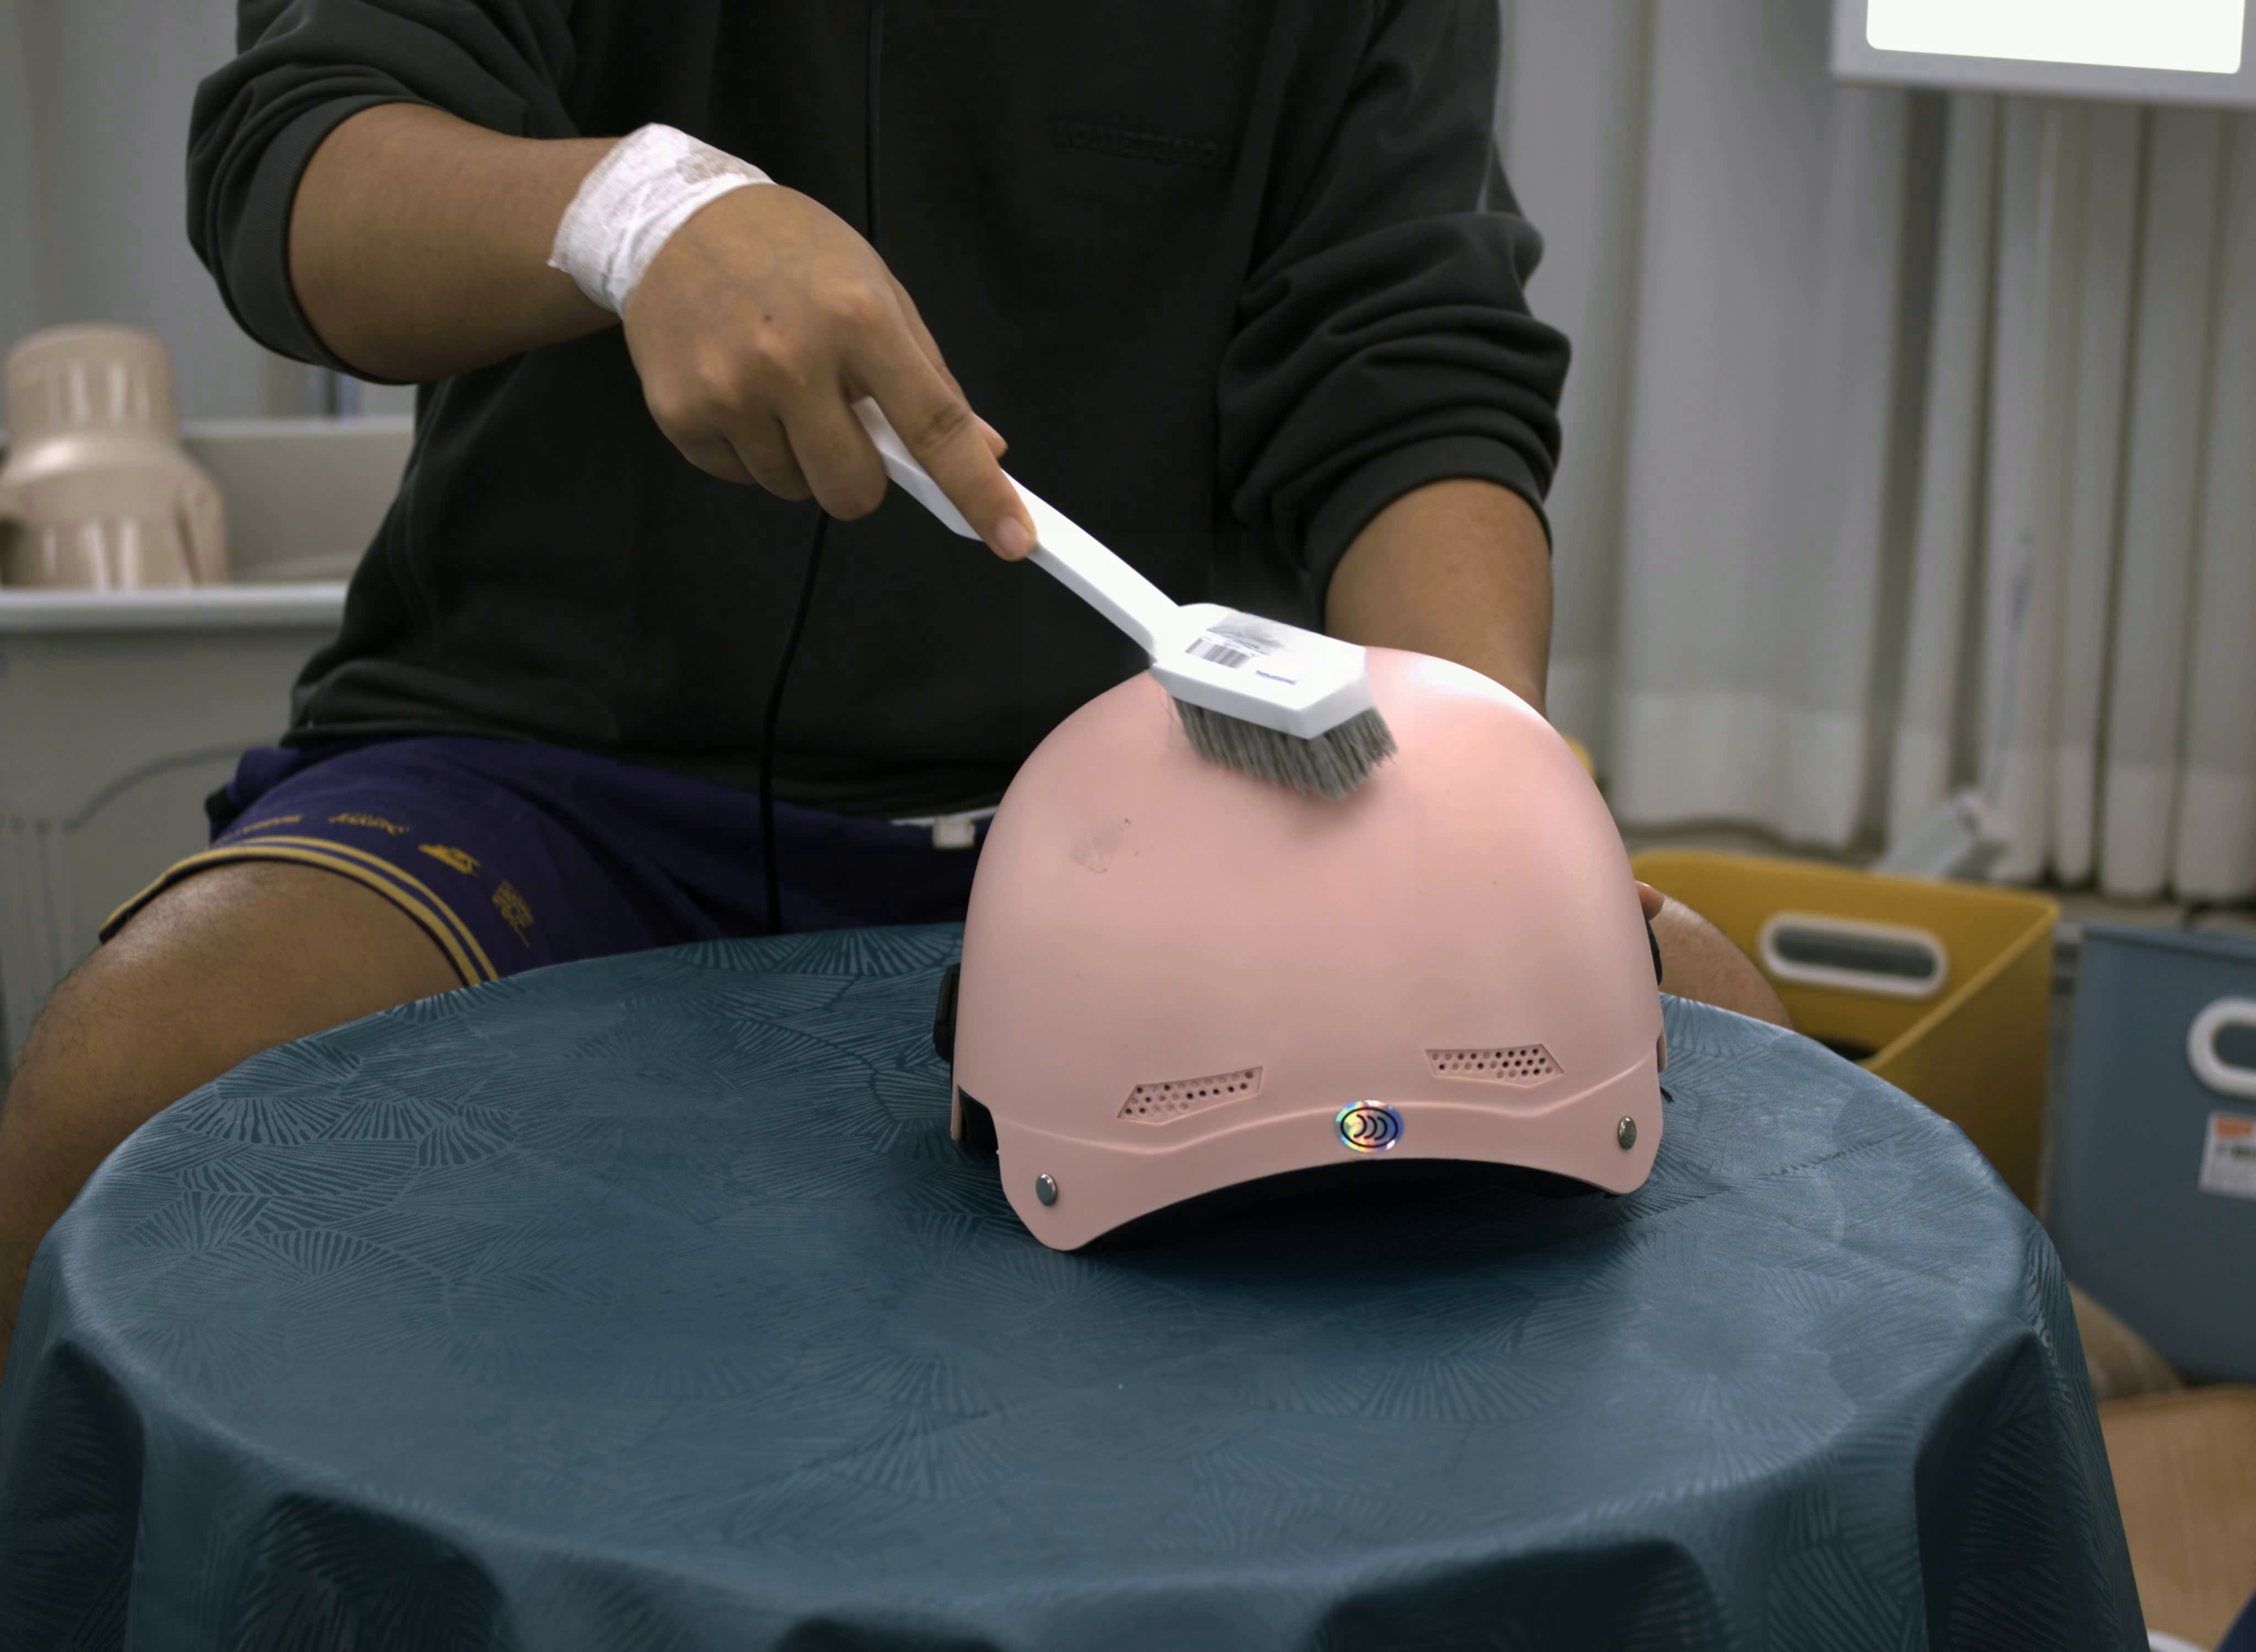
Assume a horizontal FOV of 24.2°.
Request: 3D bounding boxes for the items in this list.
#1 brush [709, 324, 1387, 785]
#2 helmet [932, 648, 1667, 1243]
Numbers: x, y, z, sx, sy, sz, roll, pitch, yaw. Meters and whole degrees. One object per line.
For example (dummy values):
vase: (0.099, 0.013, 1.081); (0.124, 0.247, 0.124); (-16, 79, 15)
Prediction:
brush: (-0.028, -0.080, 1.568); (0.241, 0.051, 0.034); (30, 54, 21)
helmet: (0.051, 0.022, 1.642); (0.233, 0.160, 0.264); (-6, 12, -4)
